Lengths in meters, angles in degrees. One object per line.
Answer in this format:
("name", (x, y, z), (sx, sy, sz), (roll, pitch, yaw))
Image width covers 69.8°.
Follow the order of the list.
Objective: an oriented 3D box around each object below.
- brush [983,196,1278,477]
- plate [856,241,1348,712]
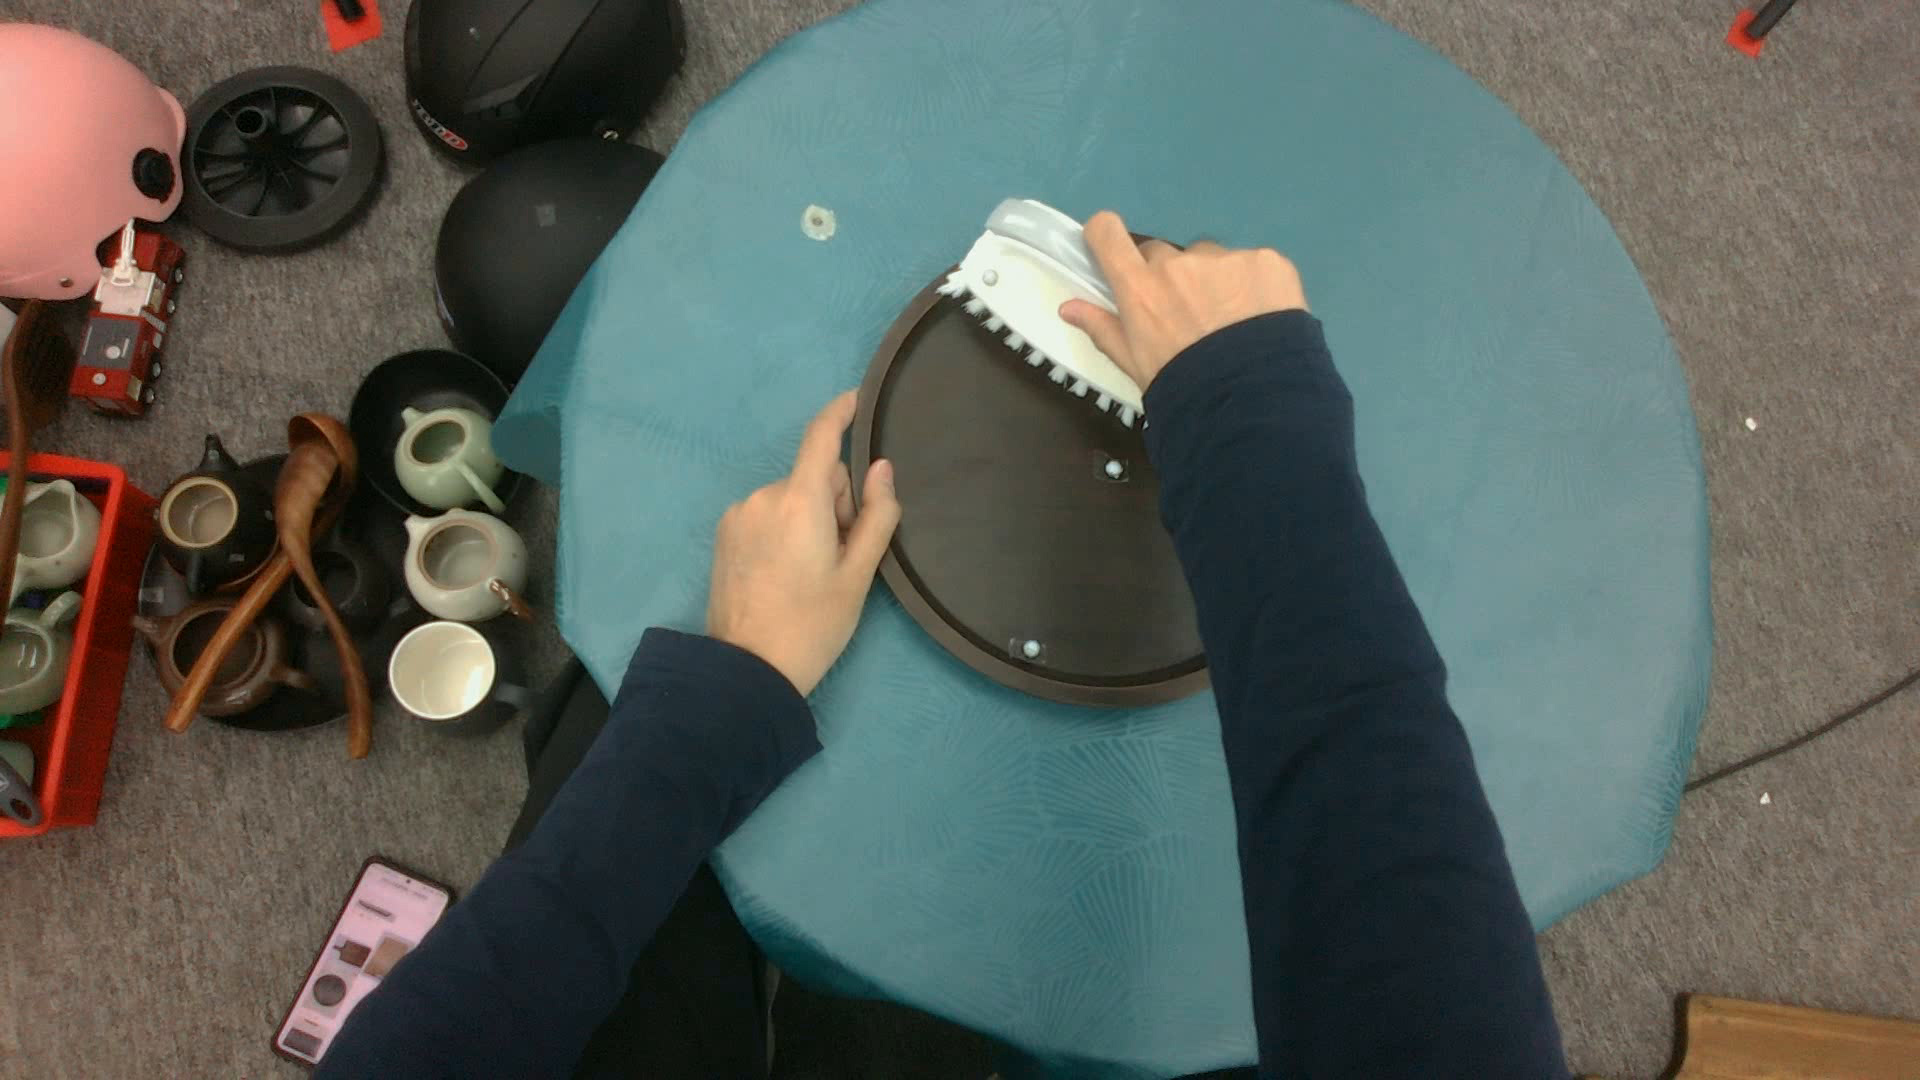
("brush", (0.093, -0.098, 0.665), (0.175, 0.094, 0.061), (43, 79, 1))
("plate", (0.073, -0.037, 0.707), (0.255, 0.029, 0.255), (2, 74, -5))
